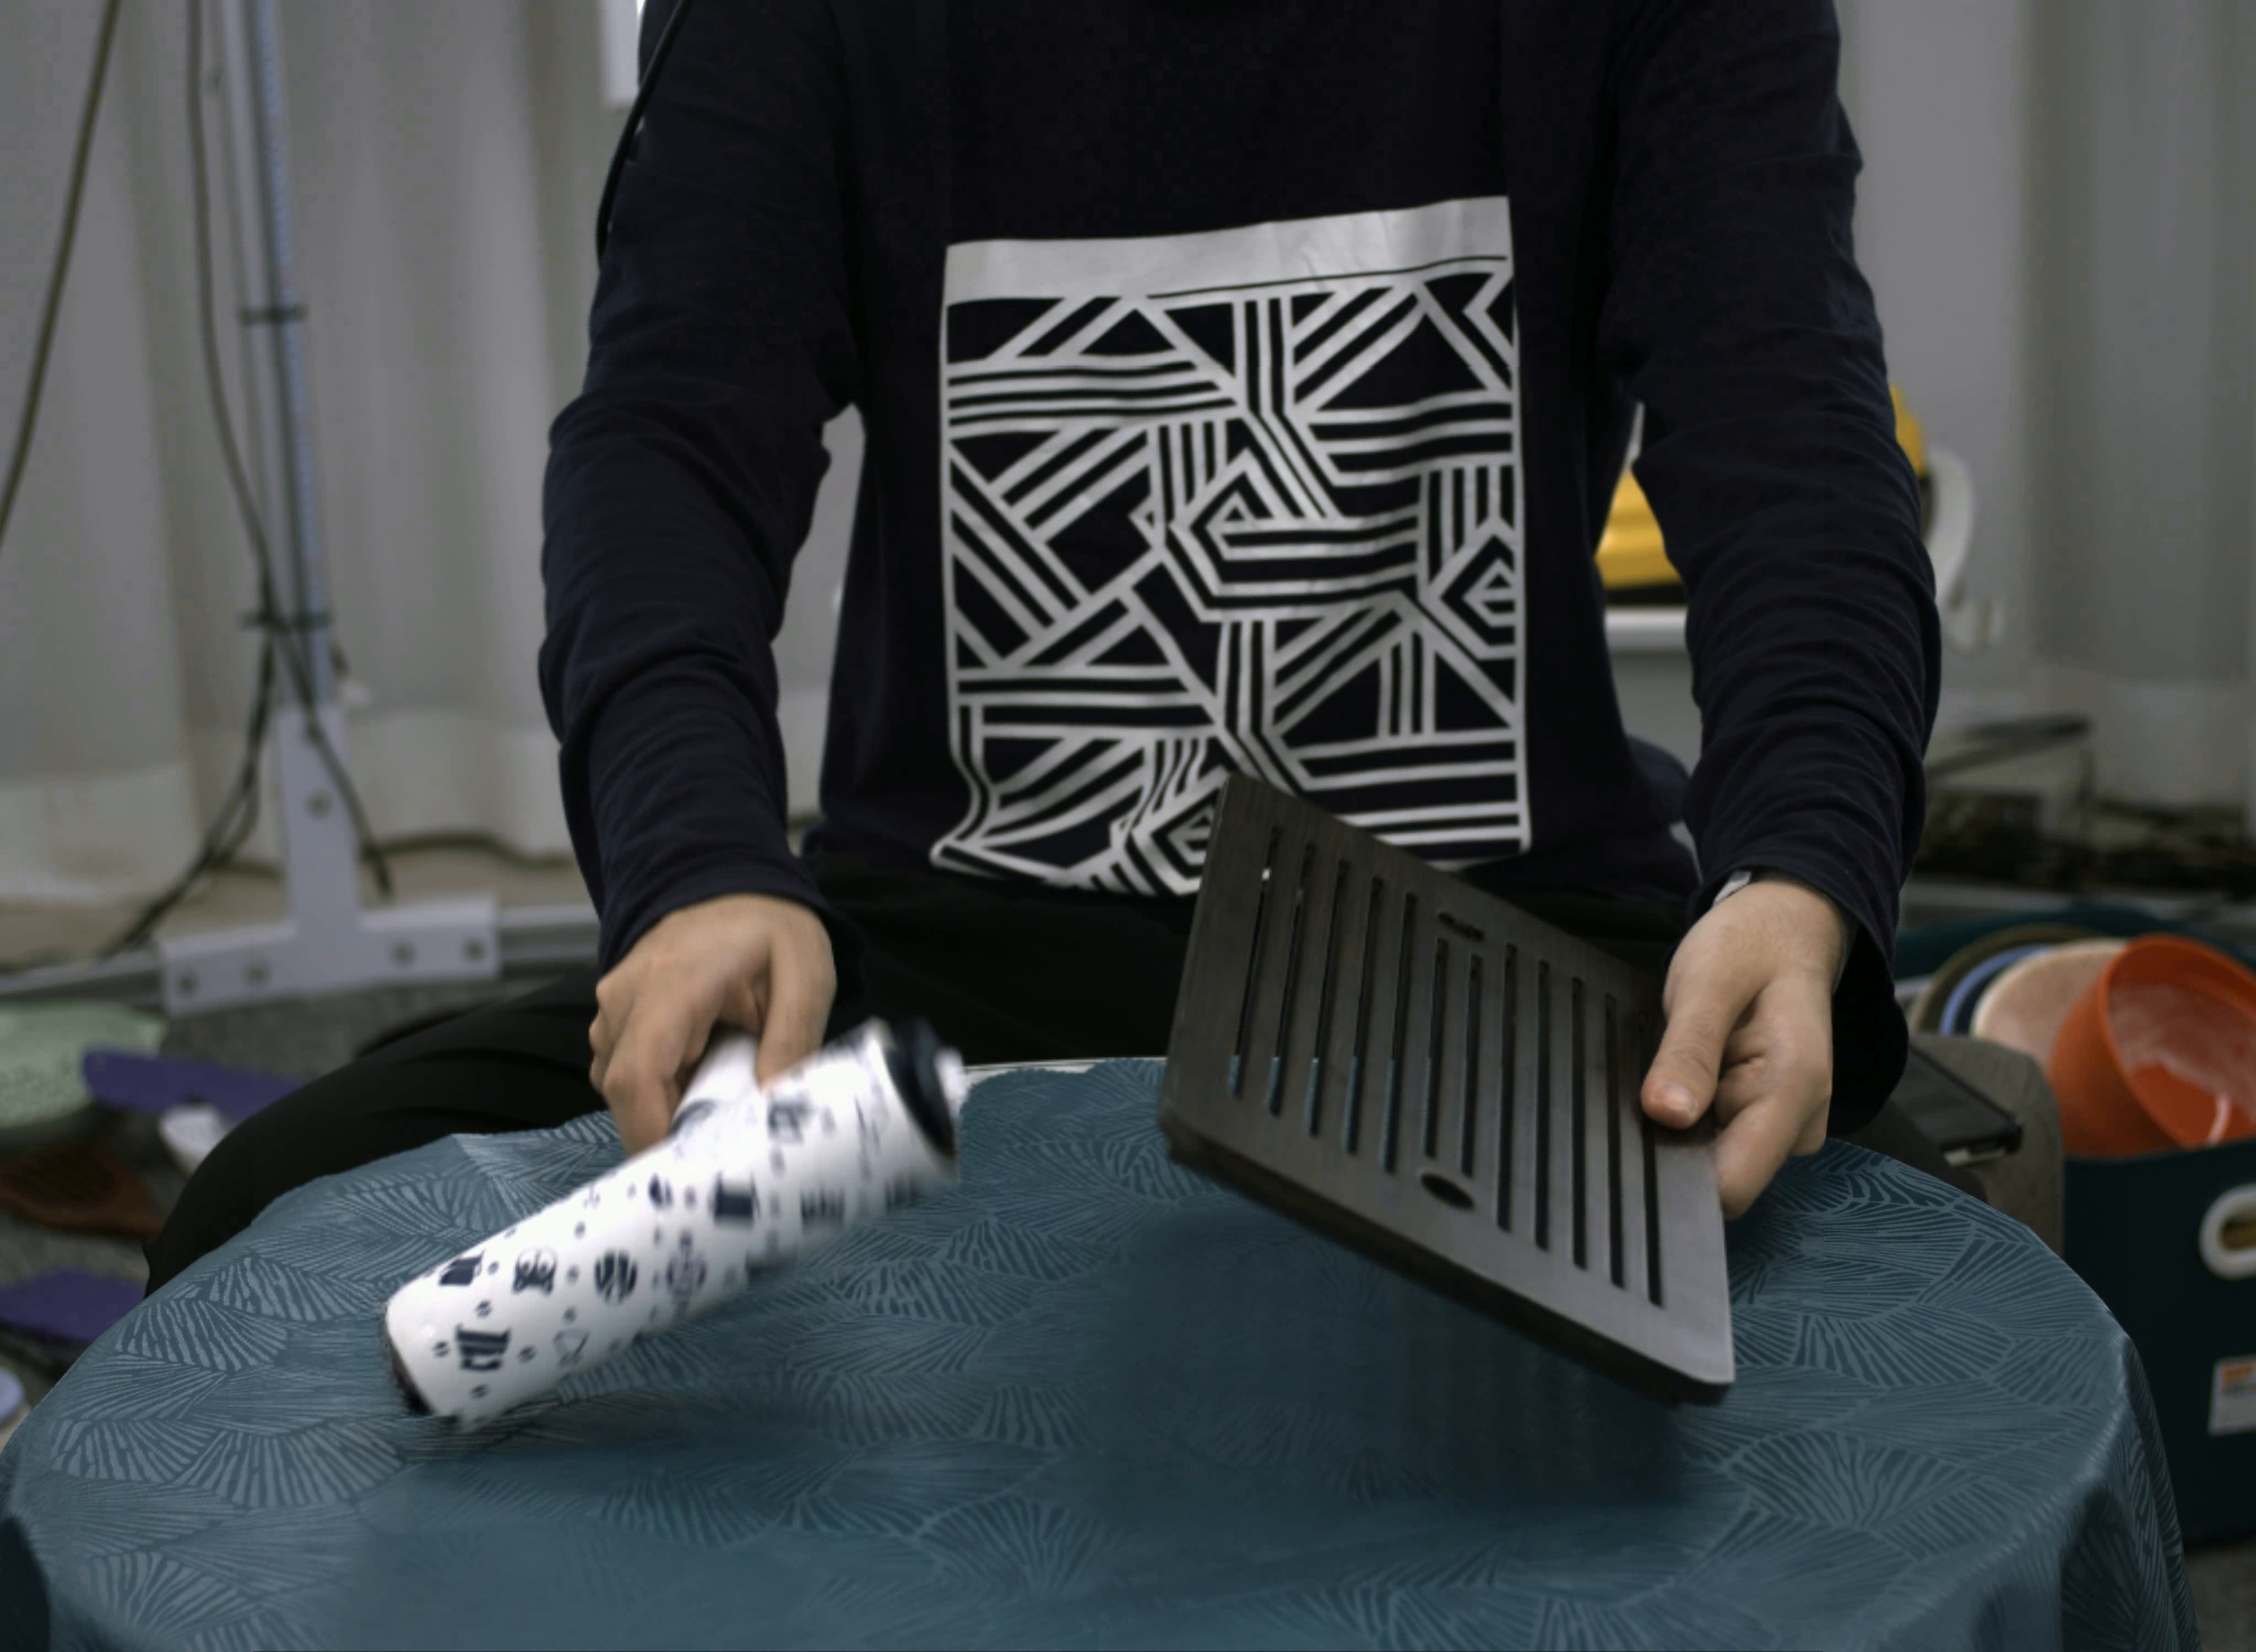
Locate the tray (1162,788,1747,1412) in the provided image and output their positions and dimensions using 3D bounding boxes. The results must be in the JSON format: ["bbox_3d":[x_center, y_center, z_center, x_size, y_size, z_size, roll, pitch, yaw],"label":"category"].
[{"bbox_3d":[0.094,0.074,1.571,0.169,0.018,0.308,26,17,-3],"label":"tray"}]

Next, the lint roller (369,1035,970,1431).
[{"bbox_3d":[-0.125,0.096,1.621,0.176,0.050,0.248,-24,11,7],"label":"lint roller"}]
